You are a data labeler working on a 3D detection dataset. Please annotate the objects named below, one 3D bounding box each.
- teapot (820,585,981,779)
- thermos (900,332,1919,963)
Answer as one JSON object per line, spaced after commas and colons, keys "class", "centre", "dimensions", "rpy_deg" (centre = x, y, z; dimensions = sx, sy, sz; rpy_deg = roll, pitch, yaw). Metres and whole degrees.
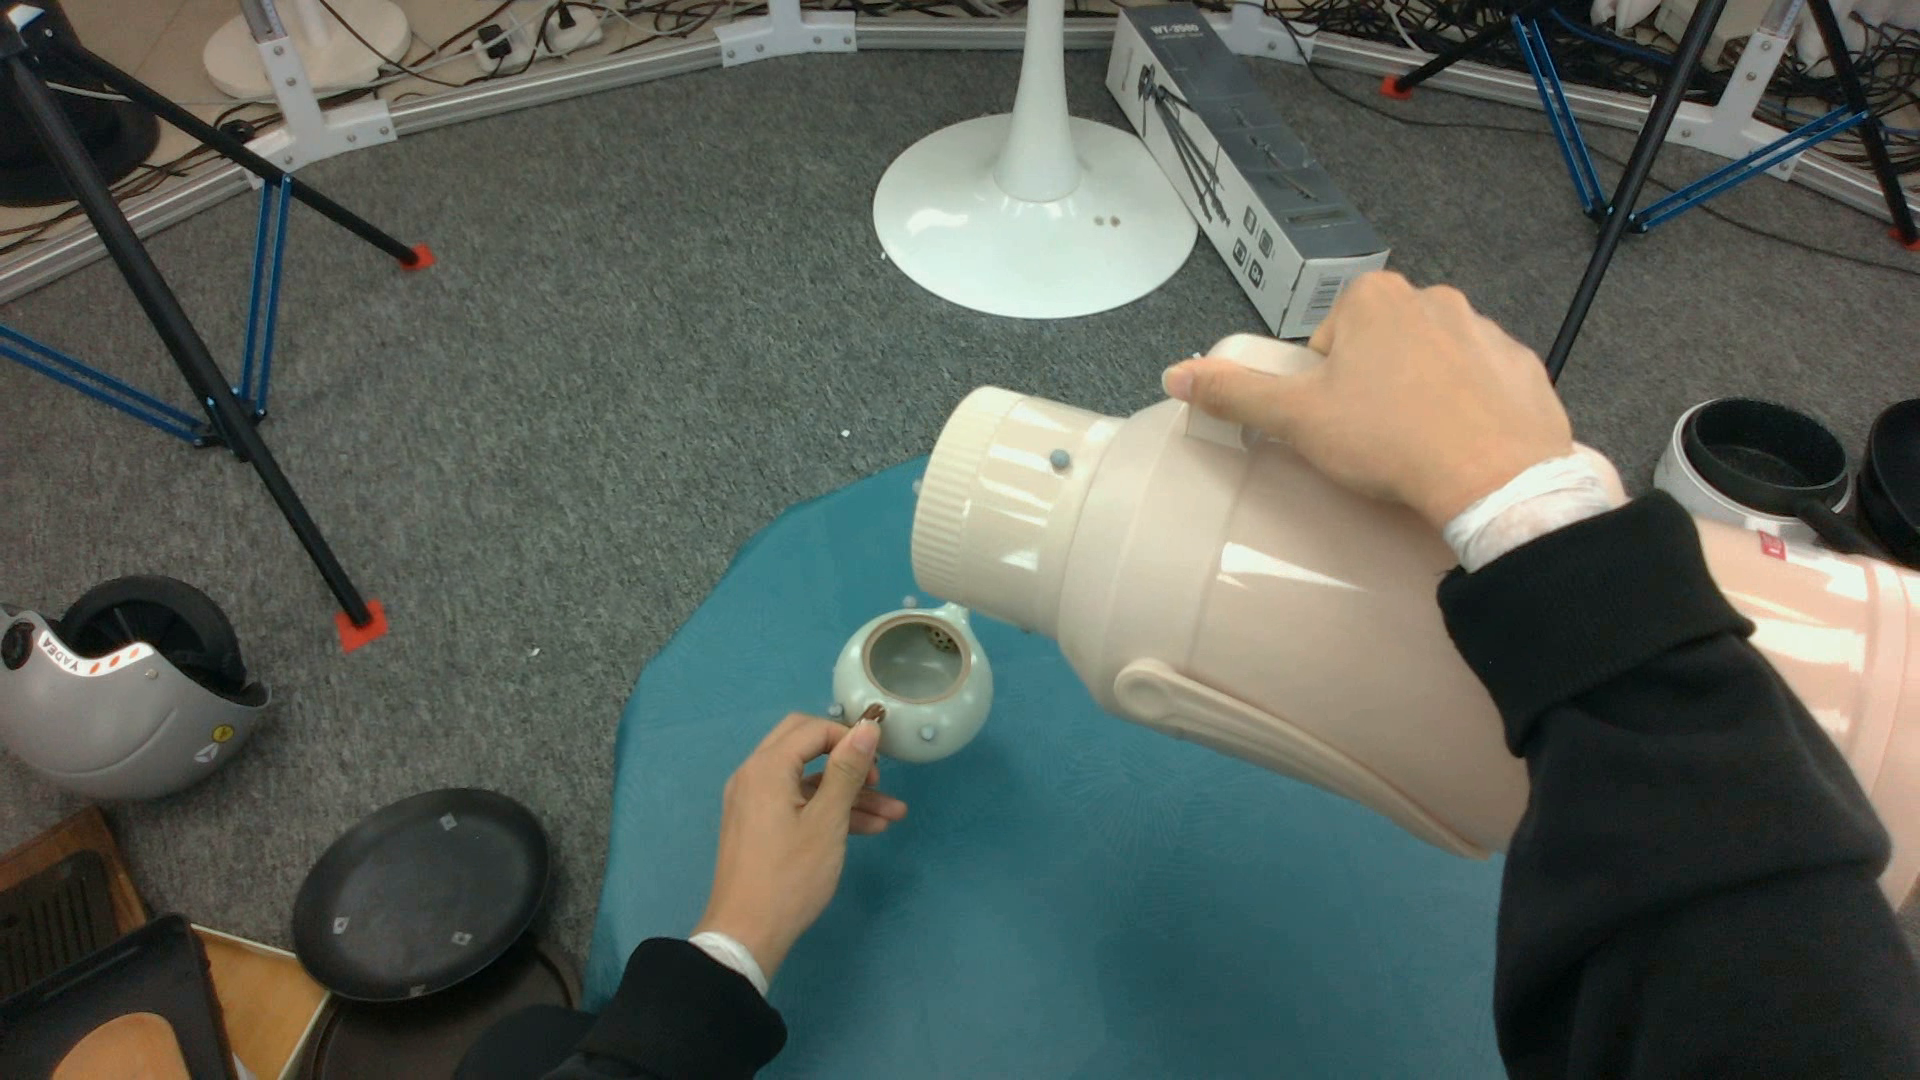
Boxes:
{"class": "teapot", "centre": [-0.038, 0.083, 0.776], "dimensions": [0.092, 0.059, 0.129], "rpy_deg": [28, 51, 12]}
{"class": "thermos", "centre": [0.175, 0.022, 0.595], "dimensions": [0.406, 0.206, 0.176], "rpy_deg": [19, 43, 18]}
